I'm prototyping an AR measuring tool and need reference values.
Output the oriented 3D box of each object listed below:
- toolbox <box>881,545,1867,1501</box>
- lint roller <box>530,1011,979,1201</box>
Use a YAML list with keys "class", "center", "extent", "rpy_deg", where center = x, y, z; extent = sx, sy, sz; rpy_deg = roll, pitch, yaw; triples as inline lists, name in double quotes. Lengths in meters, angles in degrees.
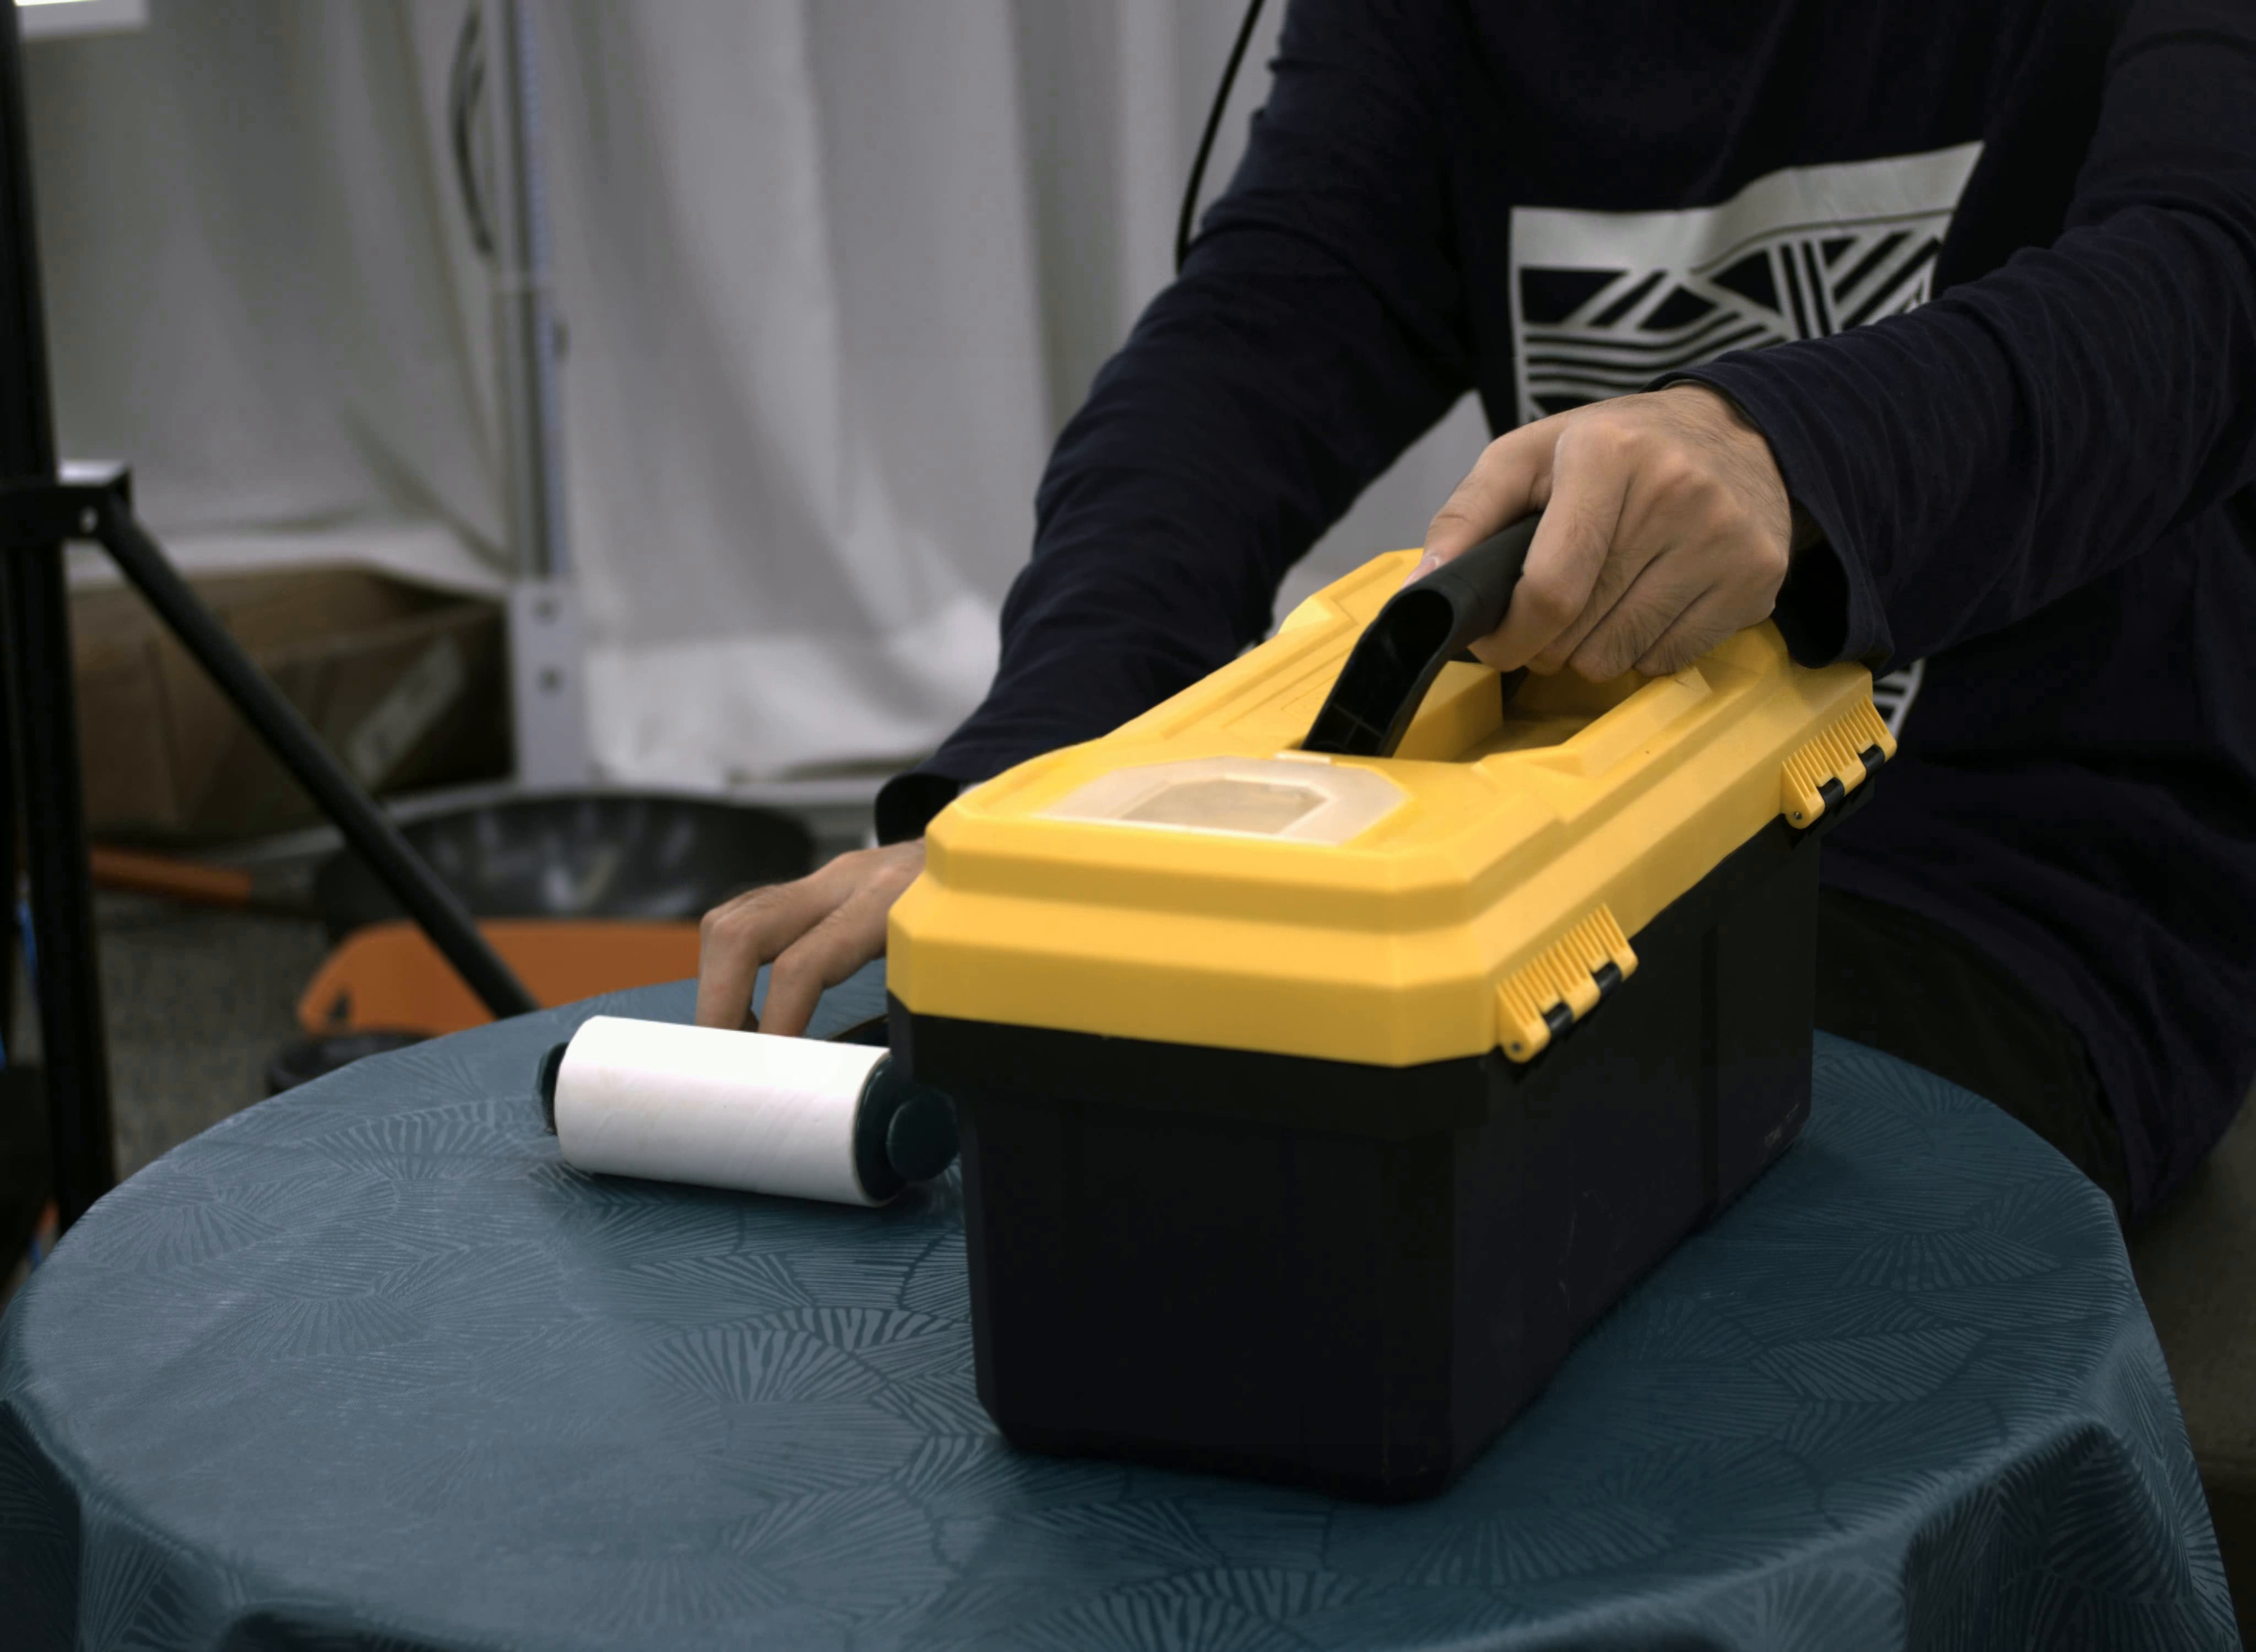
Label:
- class: "toolbox"
  center: [0.078, 0.044, 1.458]
  extent: [0.184, 0.173, 0.346]
  rpy_deg: [6, 17, 24]
- class: "lint roller"
  center: [-0.089, 0.071, 1.637]
  extent: [0.136, 0.048, 0.177]
  rpy_deg: [4, 13, 24]
